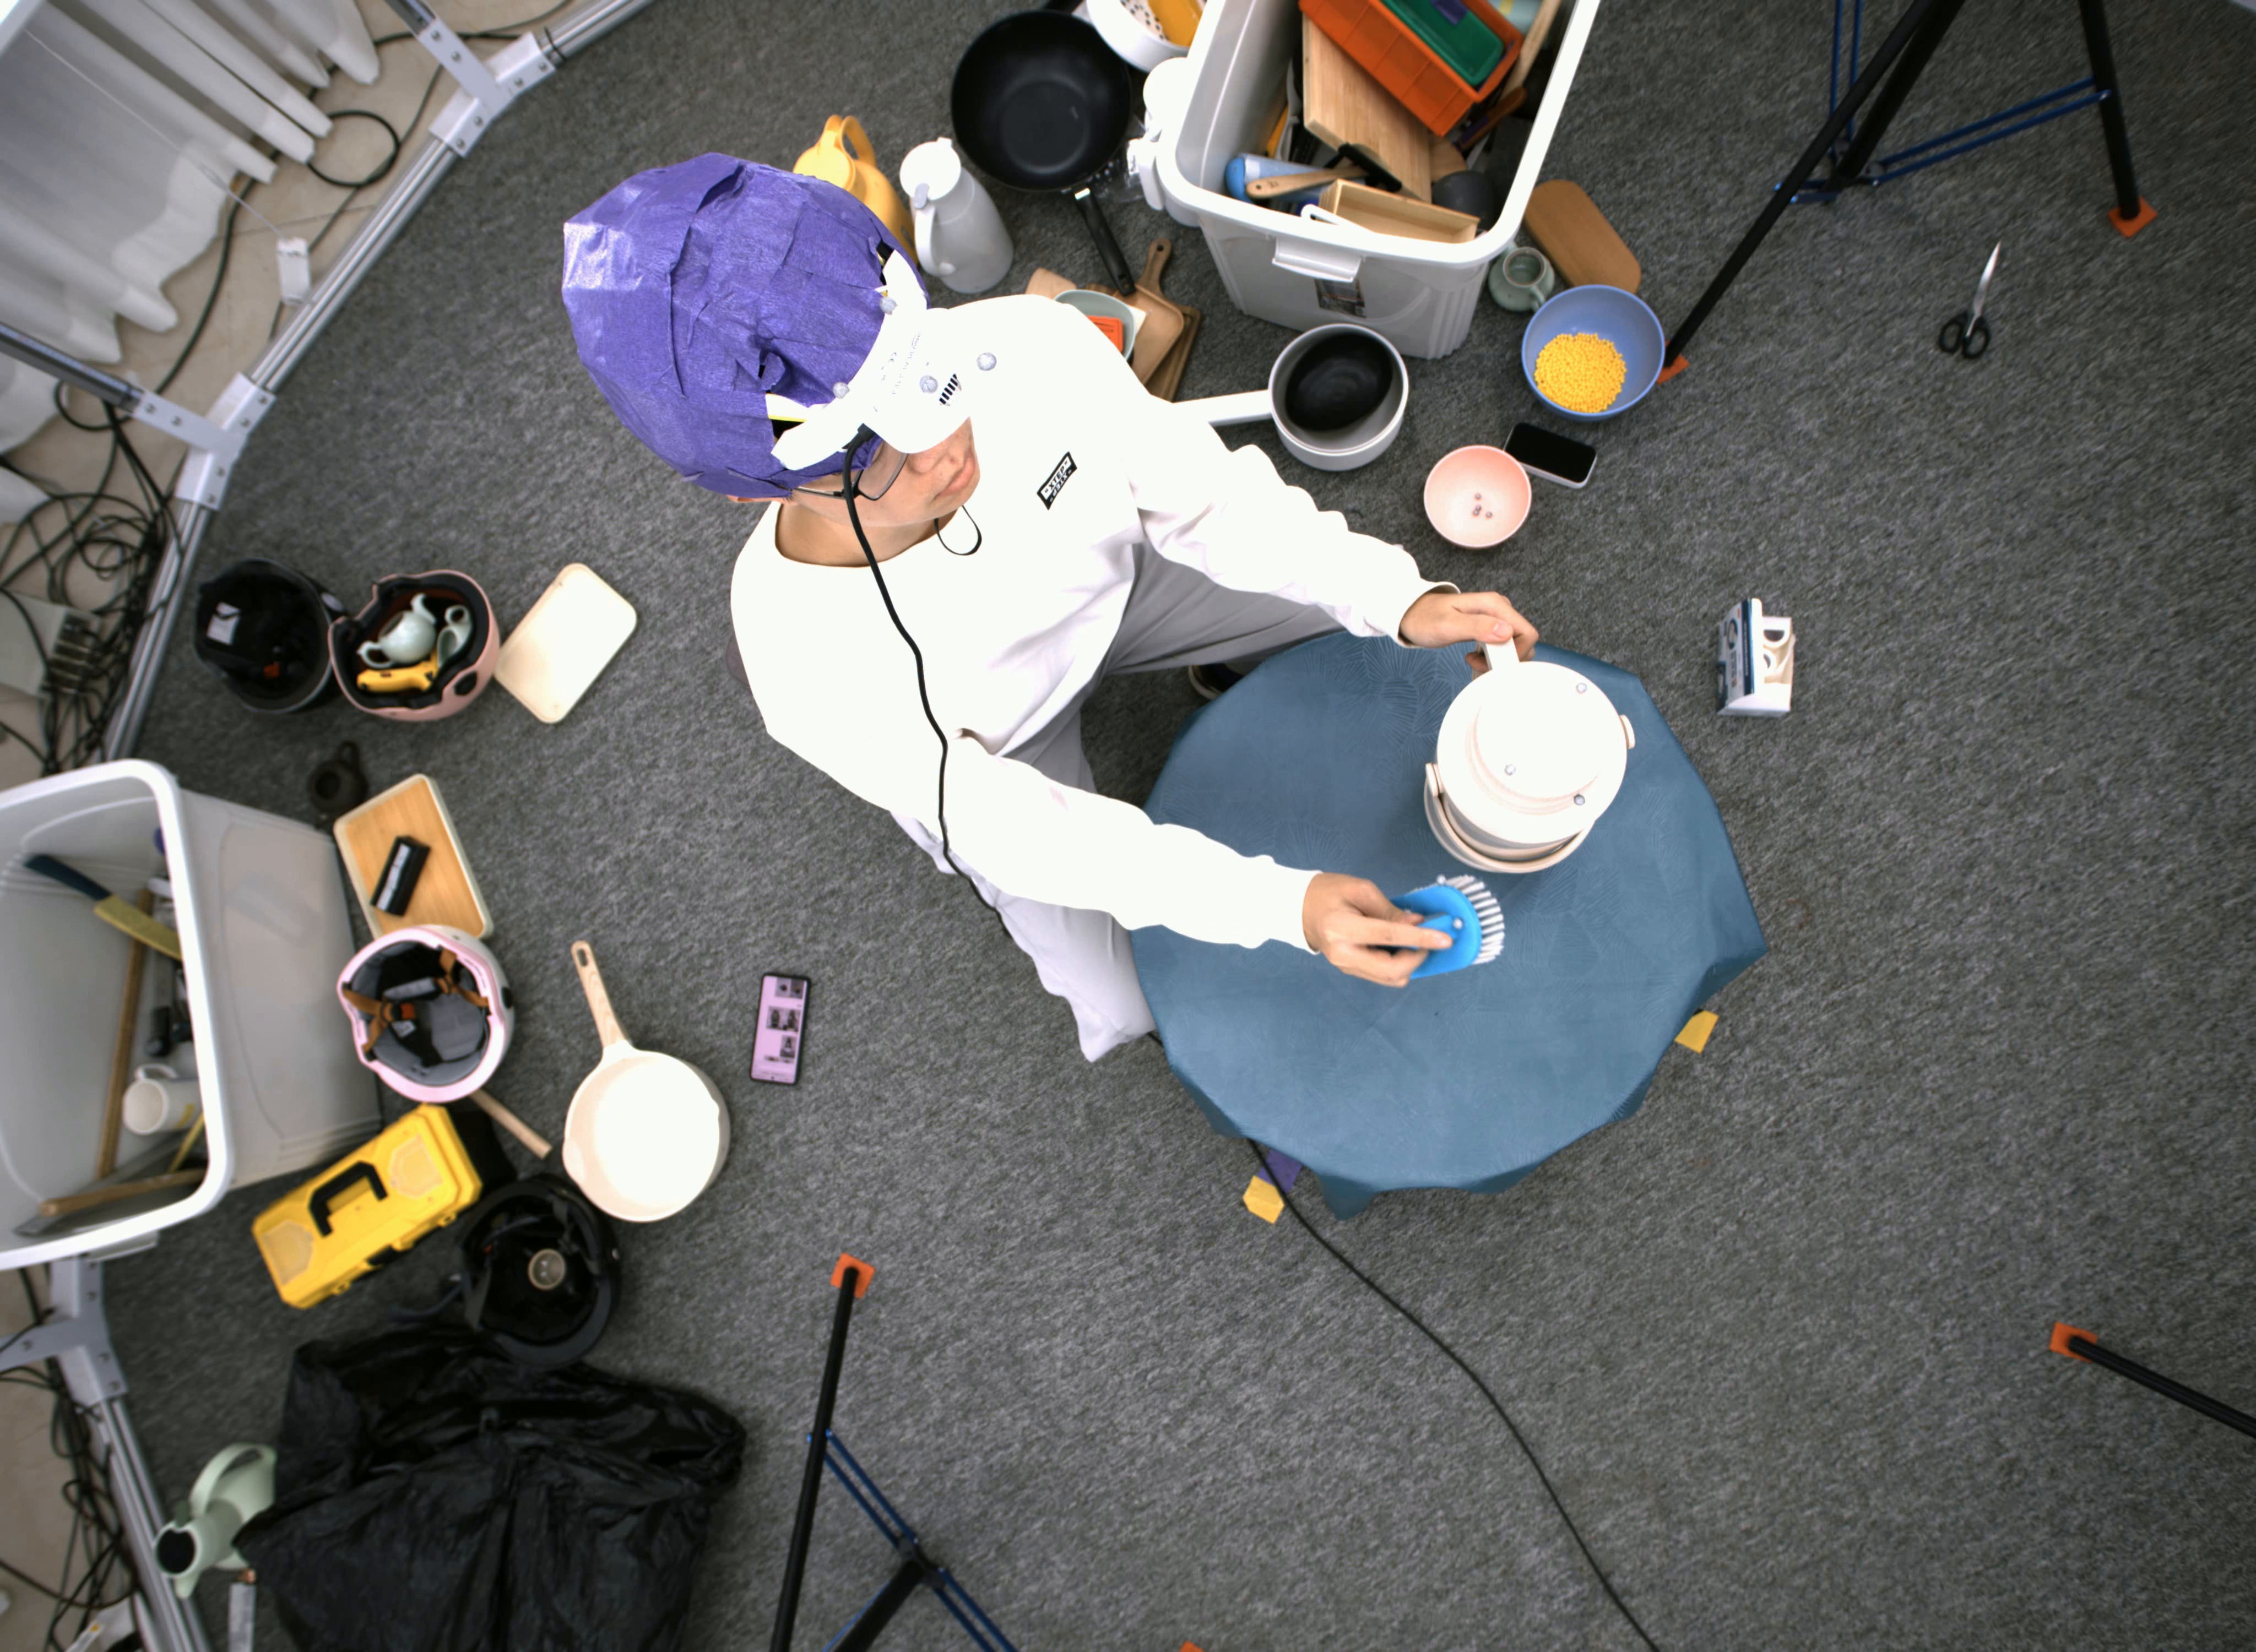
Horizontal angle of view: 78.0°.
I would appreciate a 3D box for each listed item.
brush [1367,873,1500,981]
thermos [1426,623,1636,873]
[{"bbox_3d":[0.251,0.092,1.184,0.063,0.143,0.084,-22,90,-27],"label":"brush"},{"bbox_3d":[0.355,-0.068,1.250,0.176,0.407,0.205,-15,82,10],"label":"thermos"}]
